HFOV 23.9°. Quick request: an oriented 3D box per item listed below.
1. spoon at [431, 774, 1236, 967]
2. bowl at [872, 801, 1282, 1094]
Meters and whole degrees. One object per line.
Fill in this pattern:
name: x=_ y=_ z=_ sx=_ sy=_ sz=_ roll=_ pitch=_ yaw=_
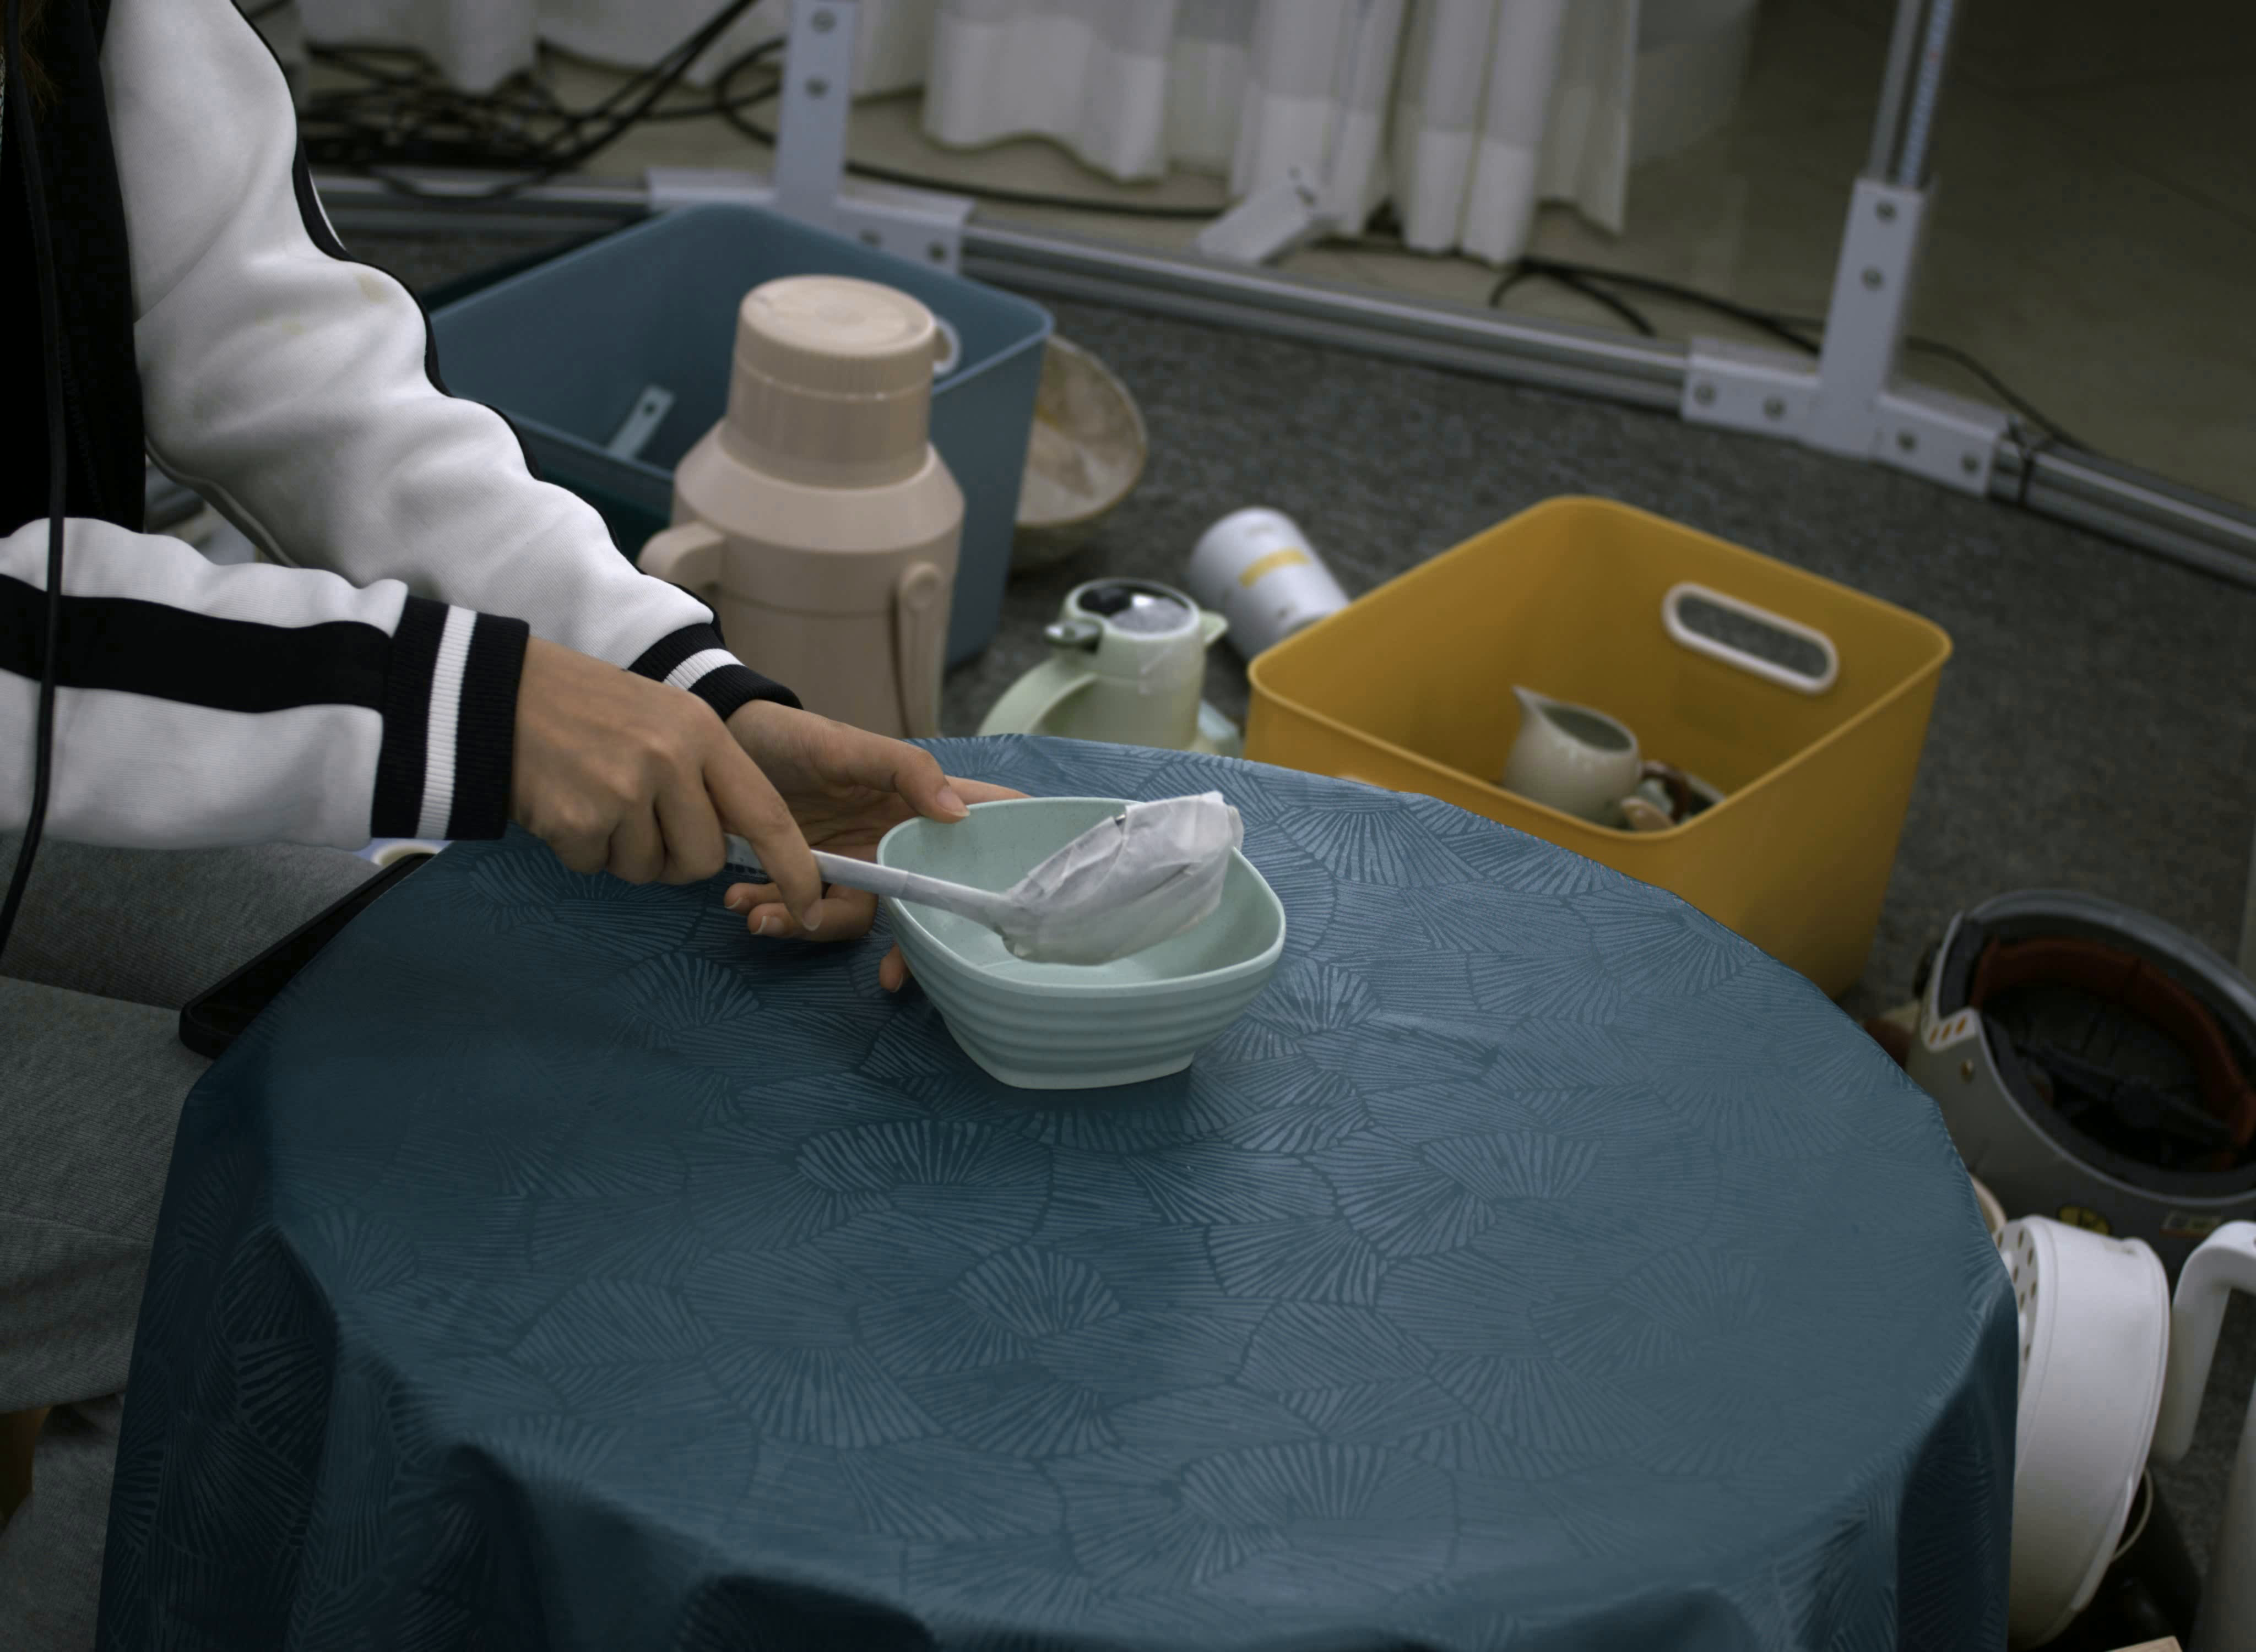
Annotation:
spoon: x=-0.101 y=-0.001 z=1.845 sx=0.276 sy=0.100 sz=0.060 roll=12 pitch=48 yaw=-4
bowl: x=-0.021 y=0.049 z=1.885 sx=0.151 sy=0.058 sz=0.152 roll=6 pitch=27 yaw=-3
